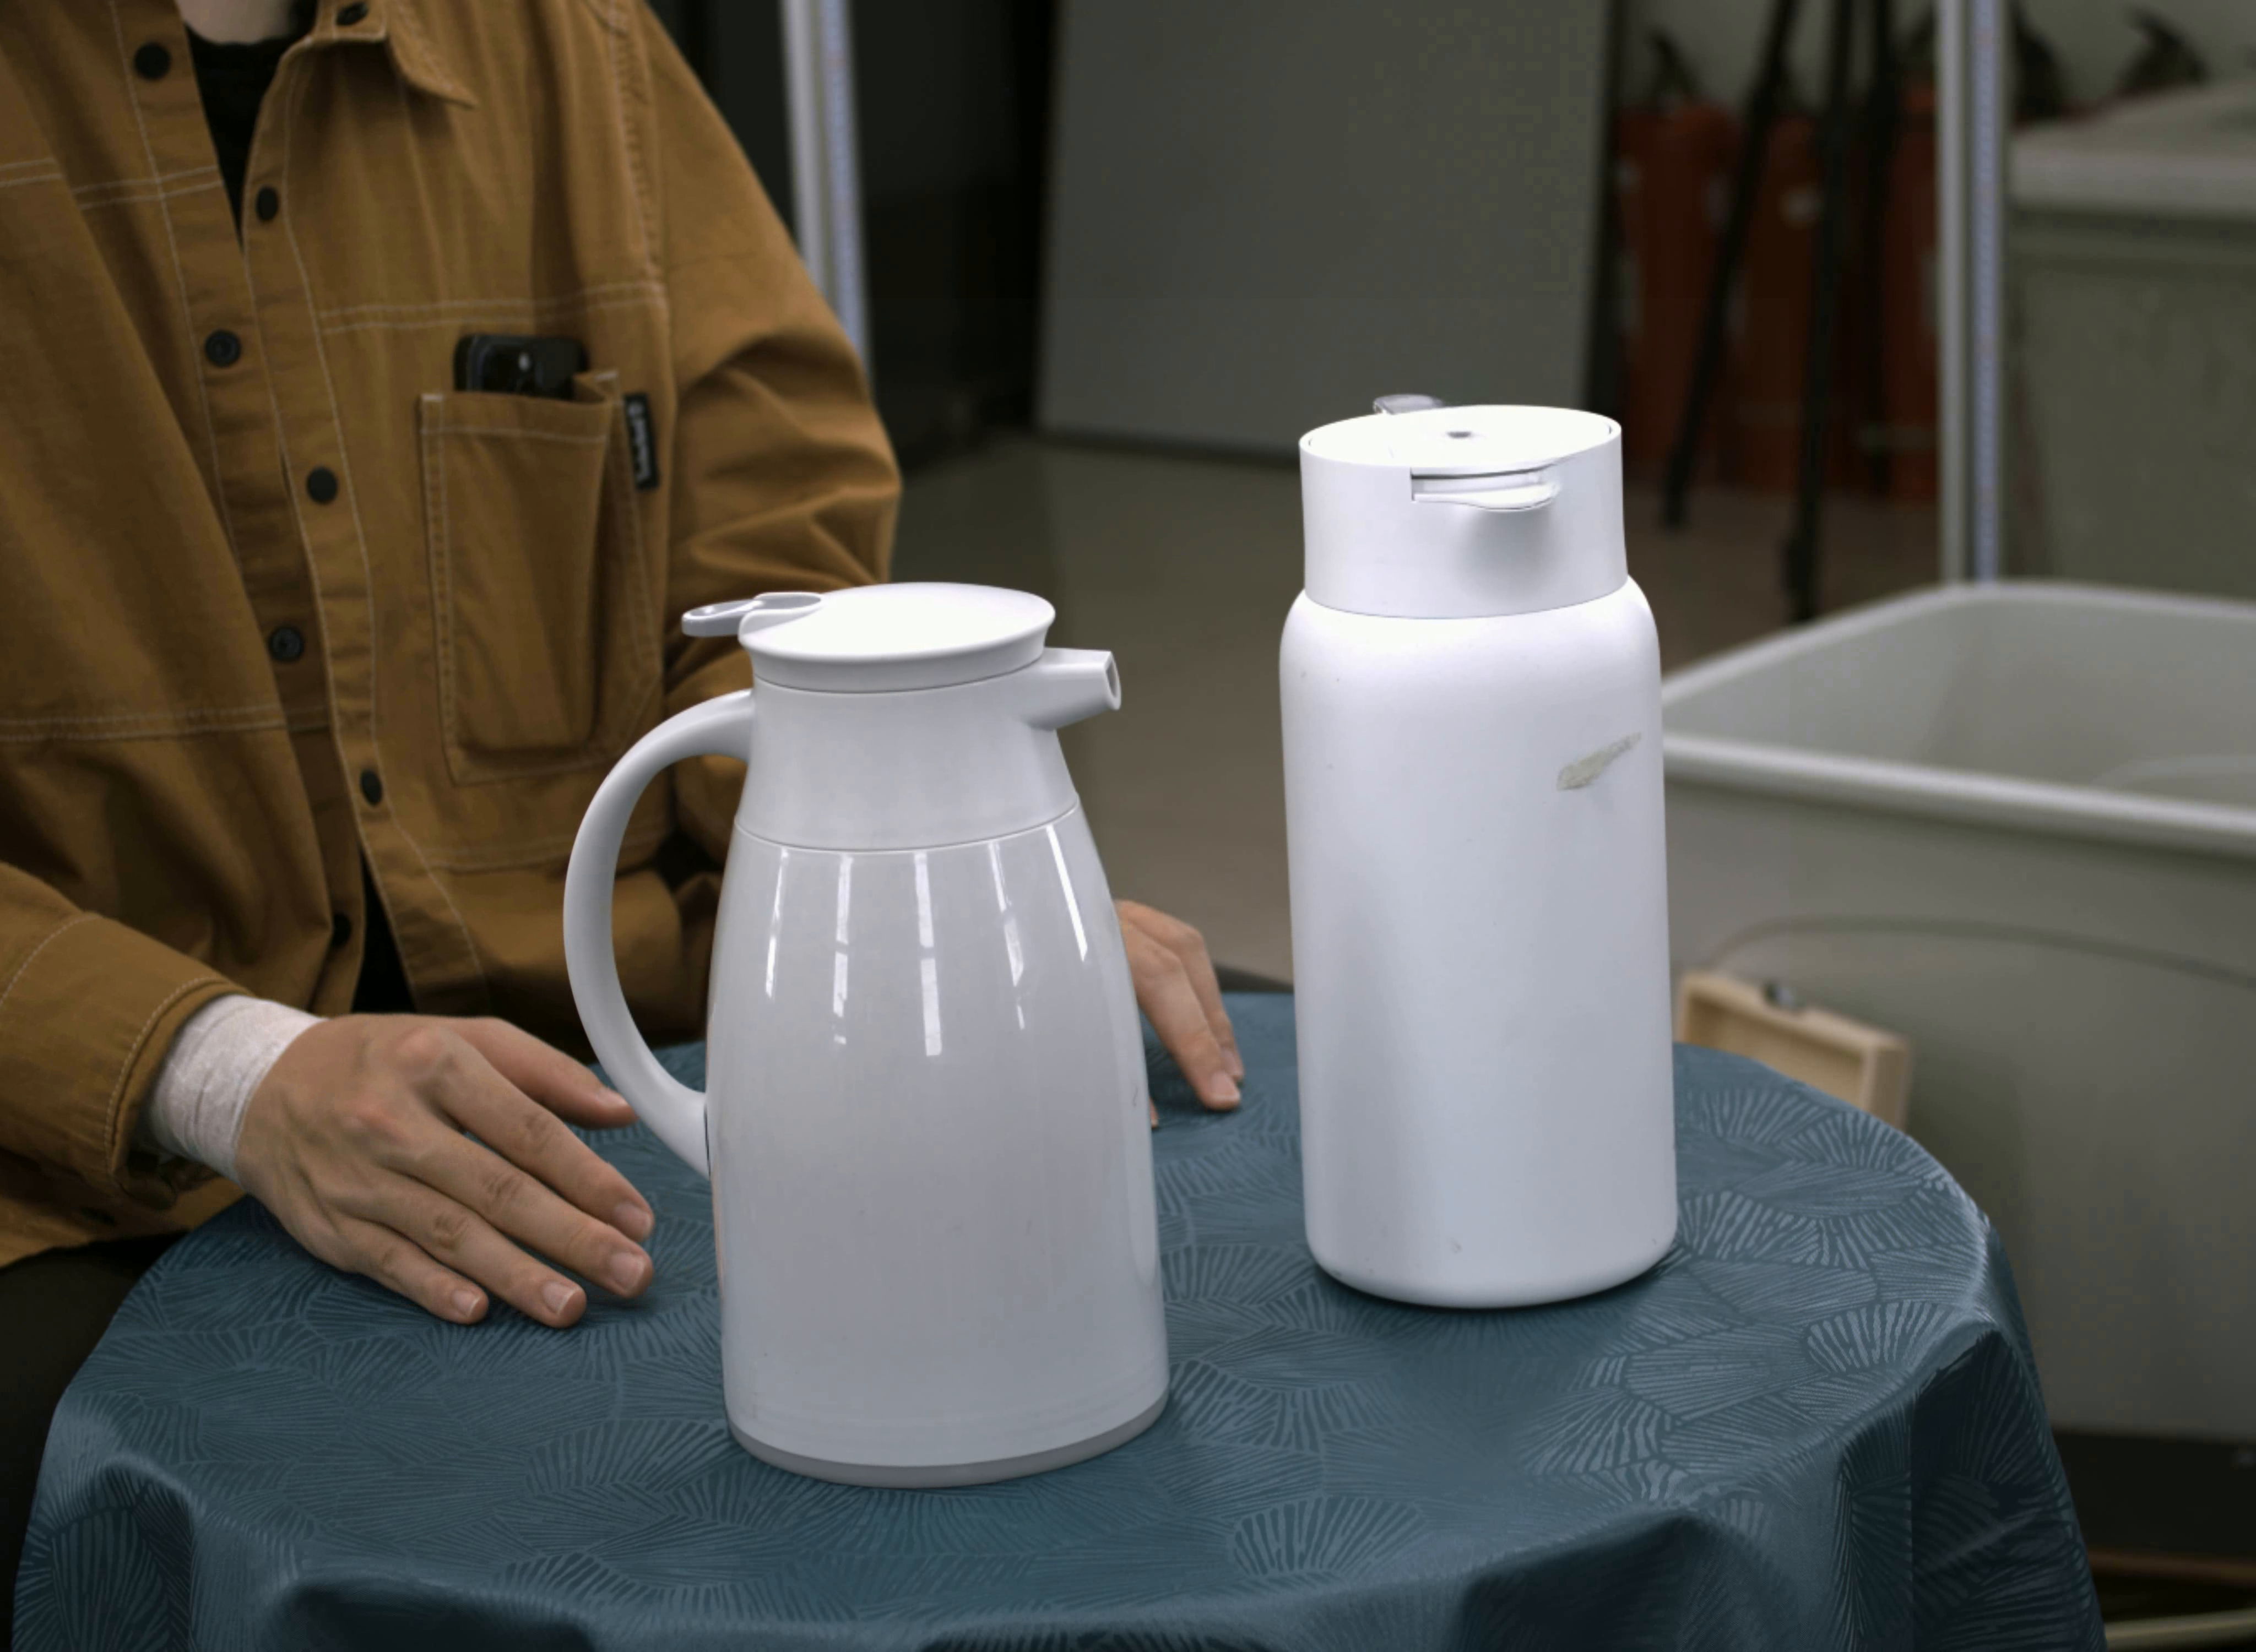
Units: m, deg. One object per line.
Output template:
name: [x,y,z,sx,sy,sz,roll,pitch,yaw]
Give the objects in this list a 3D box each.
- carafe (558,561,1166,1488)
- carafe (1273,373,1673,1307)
carafe: [-0.080,0.051,1.559,0.166,0.251,0.132,-3,13,8]
carafe: [0.100,0.001,1.669,0.121,0.272,0.174,-8,14,-10]
